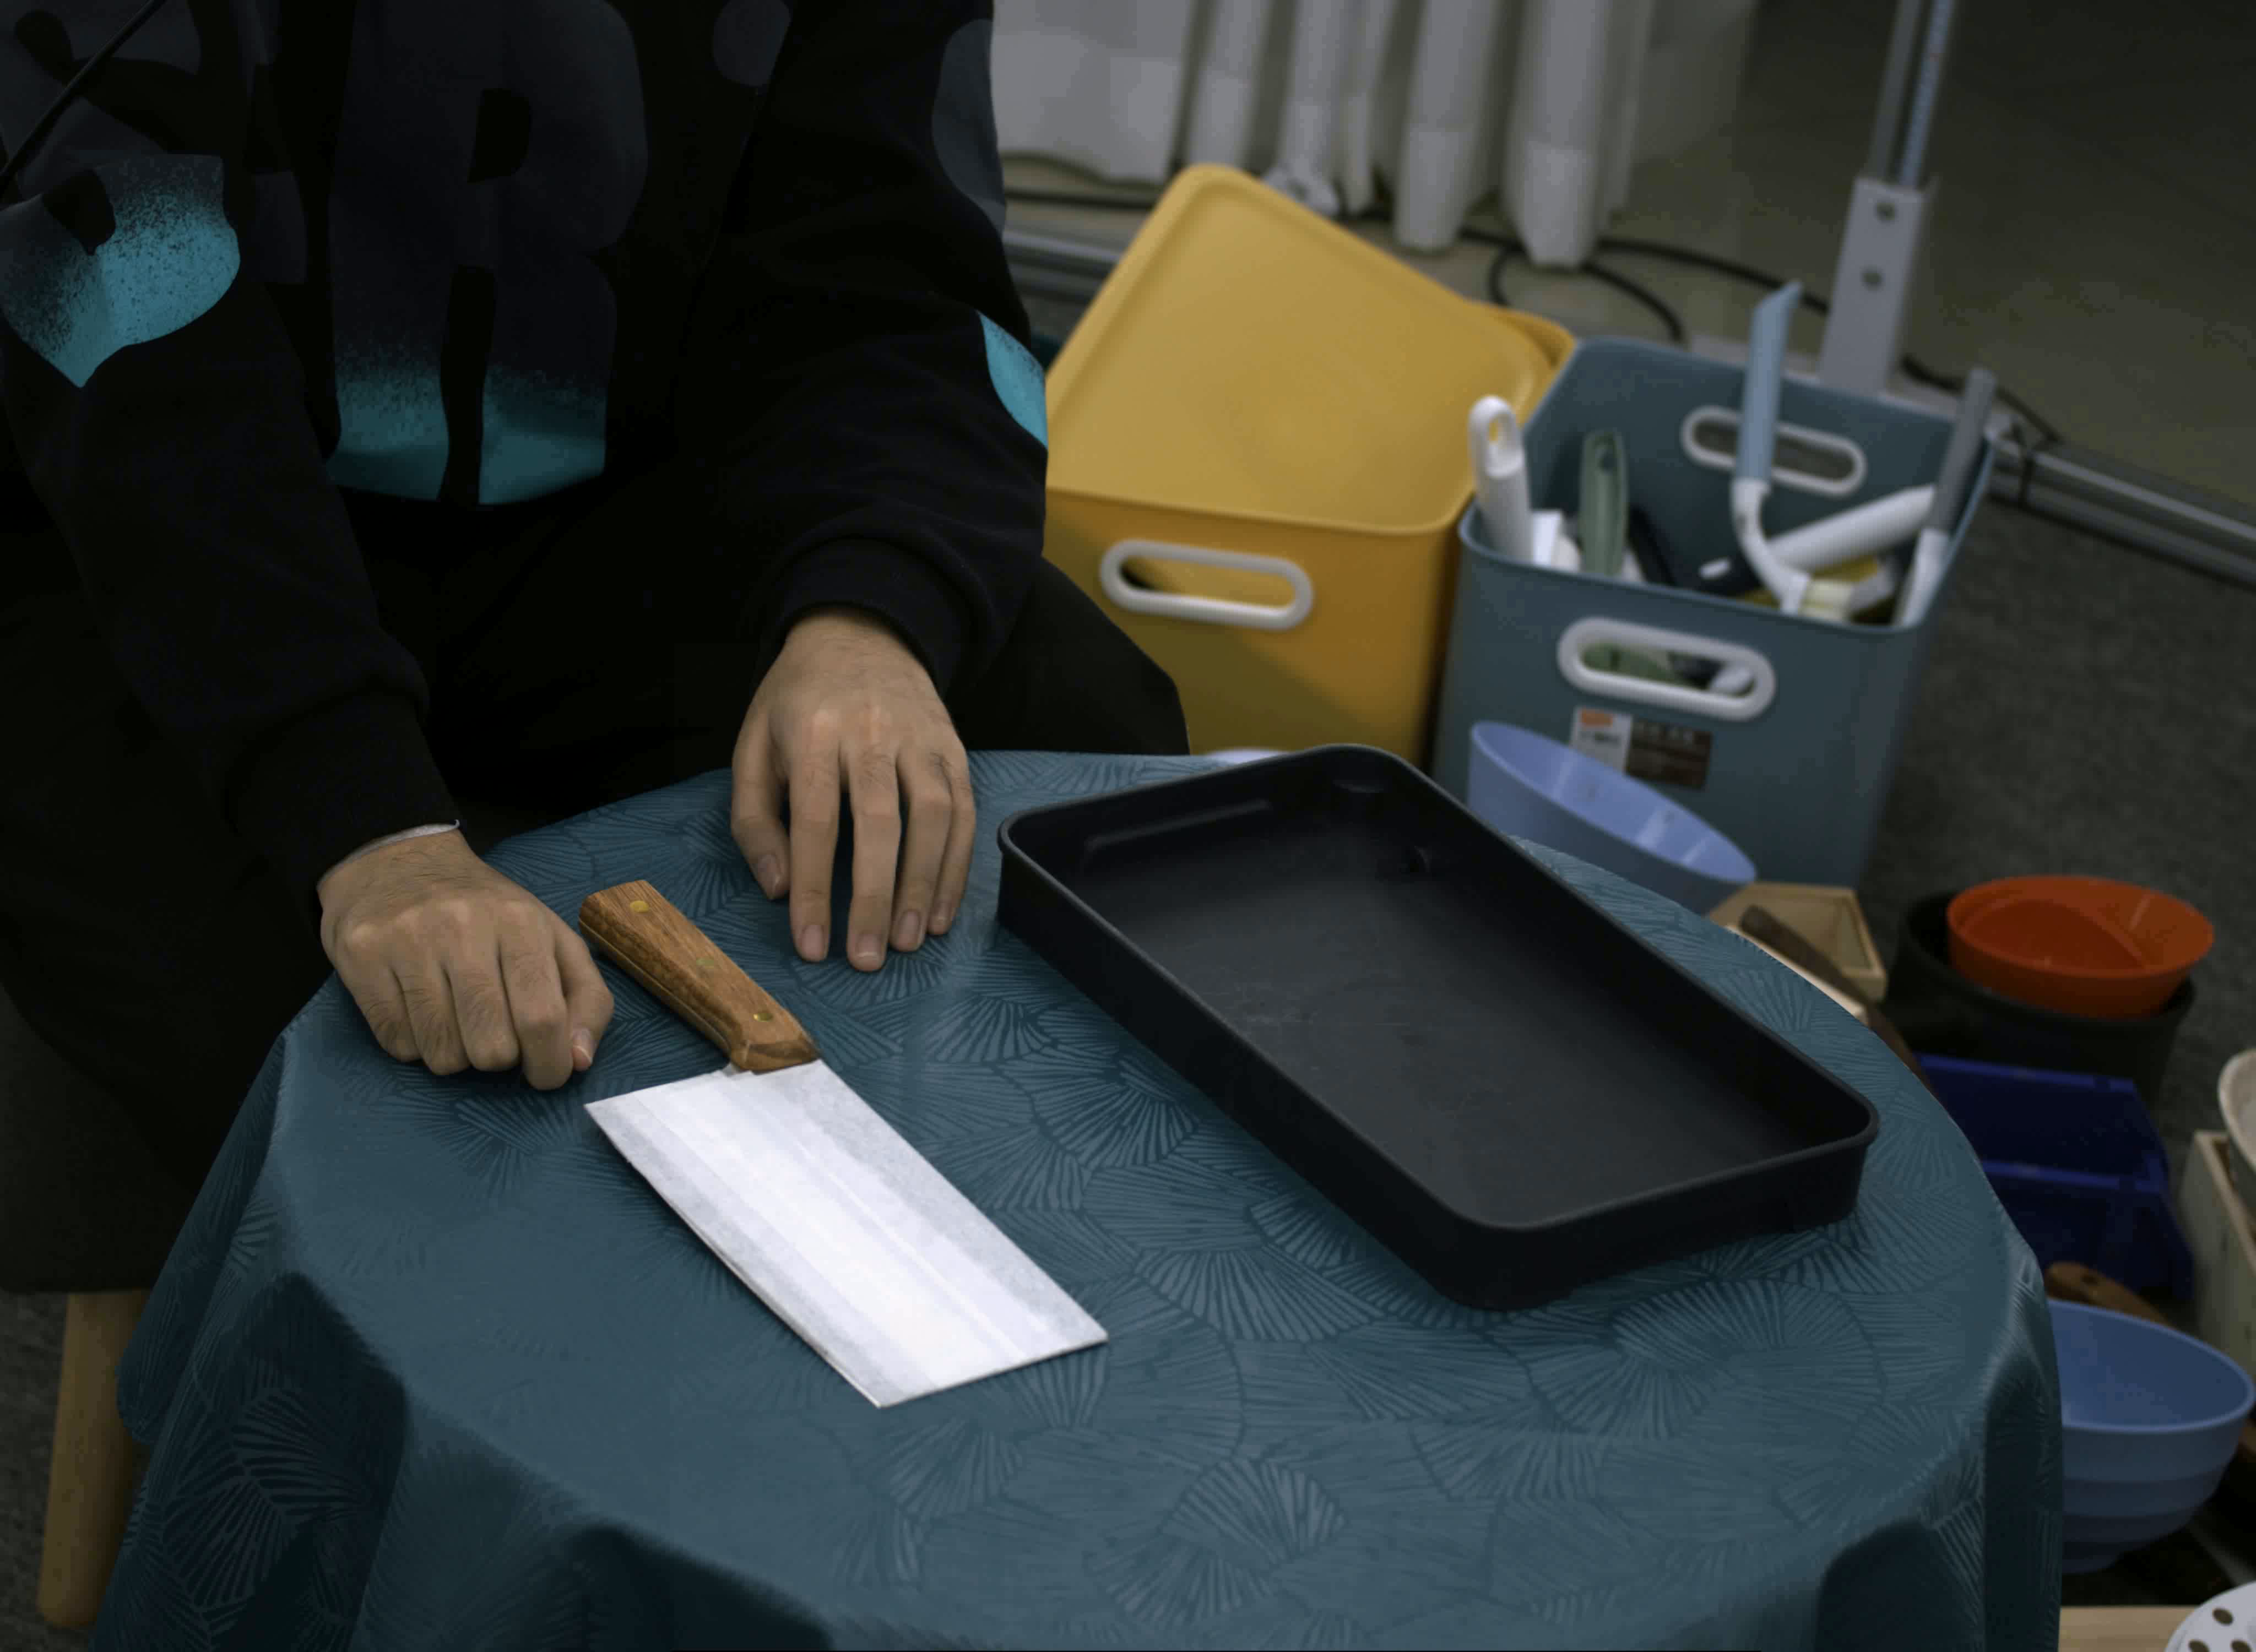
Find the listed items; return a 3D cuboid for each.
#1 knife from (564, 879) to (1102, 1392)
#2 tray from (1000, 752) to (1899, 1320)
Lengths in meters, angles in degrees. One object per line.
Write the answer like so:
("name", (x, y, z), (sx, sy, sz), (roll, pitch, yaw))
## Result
("knife", (-0.126, 0.103, 1.798), (0.092, 0.021, 0.308), (-14, 36, -32))
("tray", (0.108, 0.068, 1.896), (0.183, 0.037, 0.321), (-13, 33, -33))
